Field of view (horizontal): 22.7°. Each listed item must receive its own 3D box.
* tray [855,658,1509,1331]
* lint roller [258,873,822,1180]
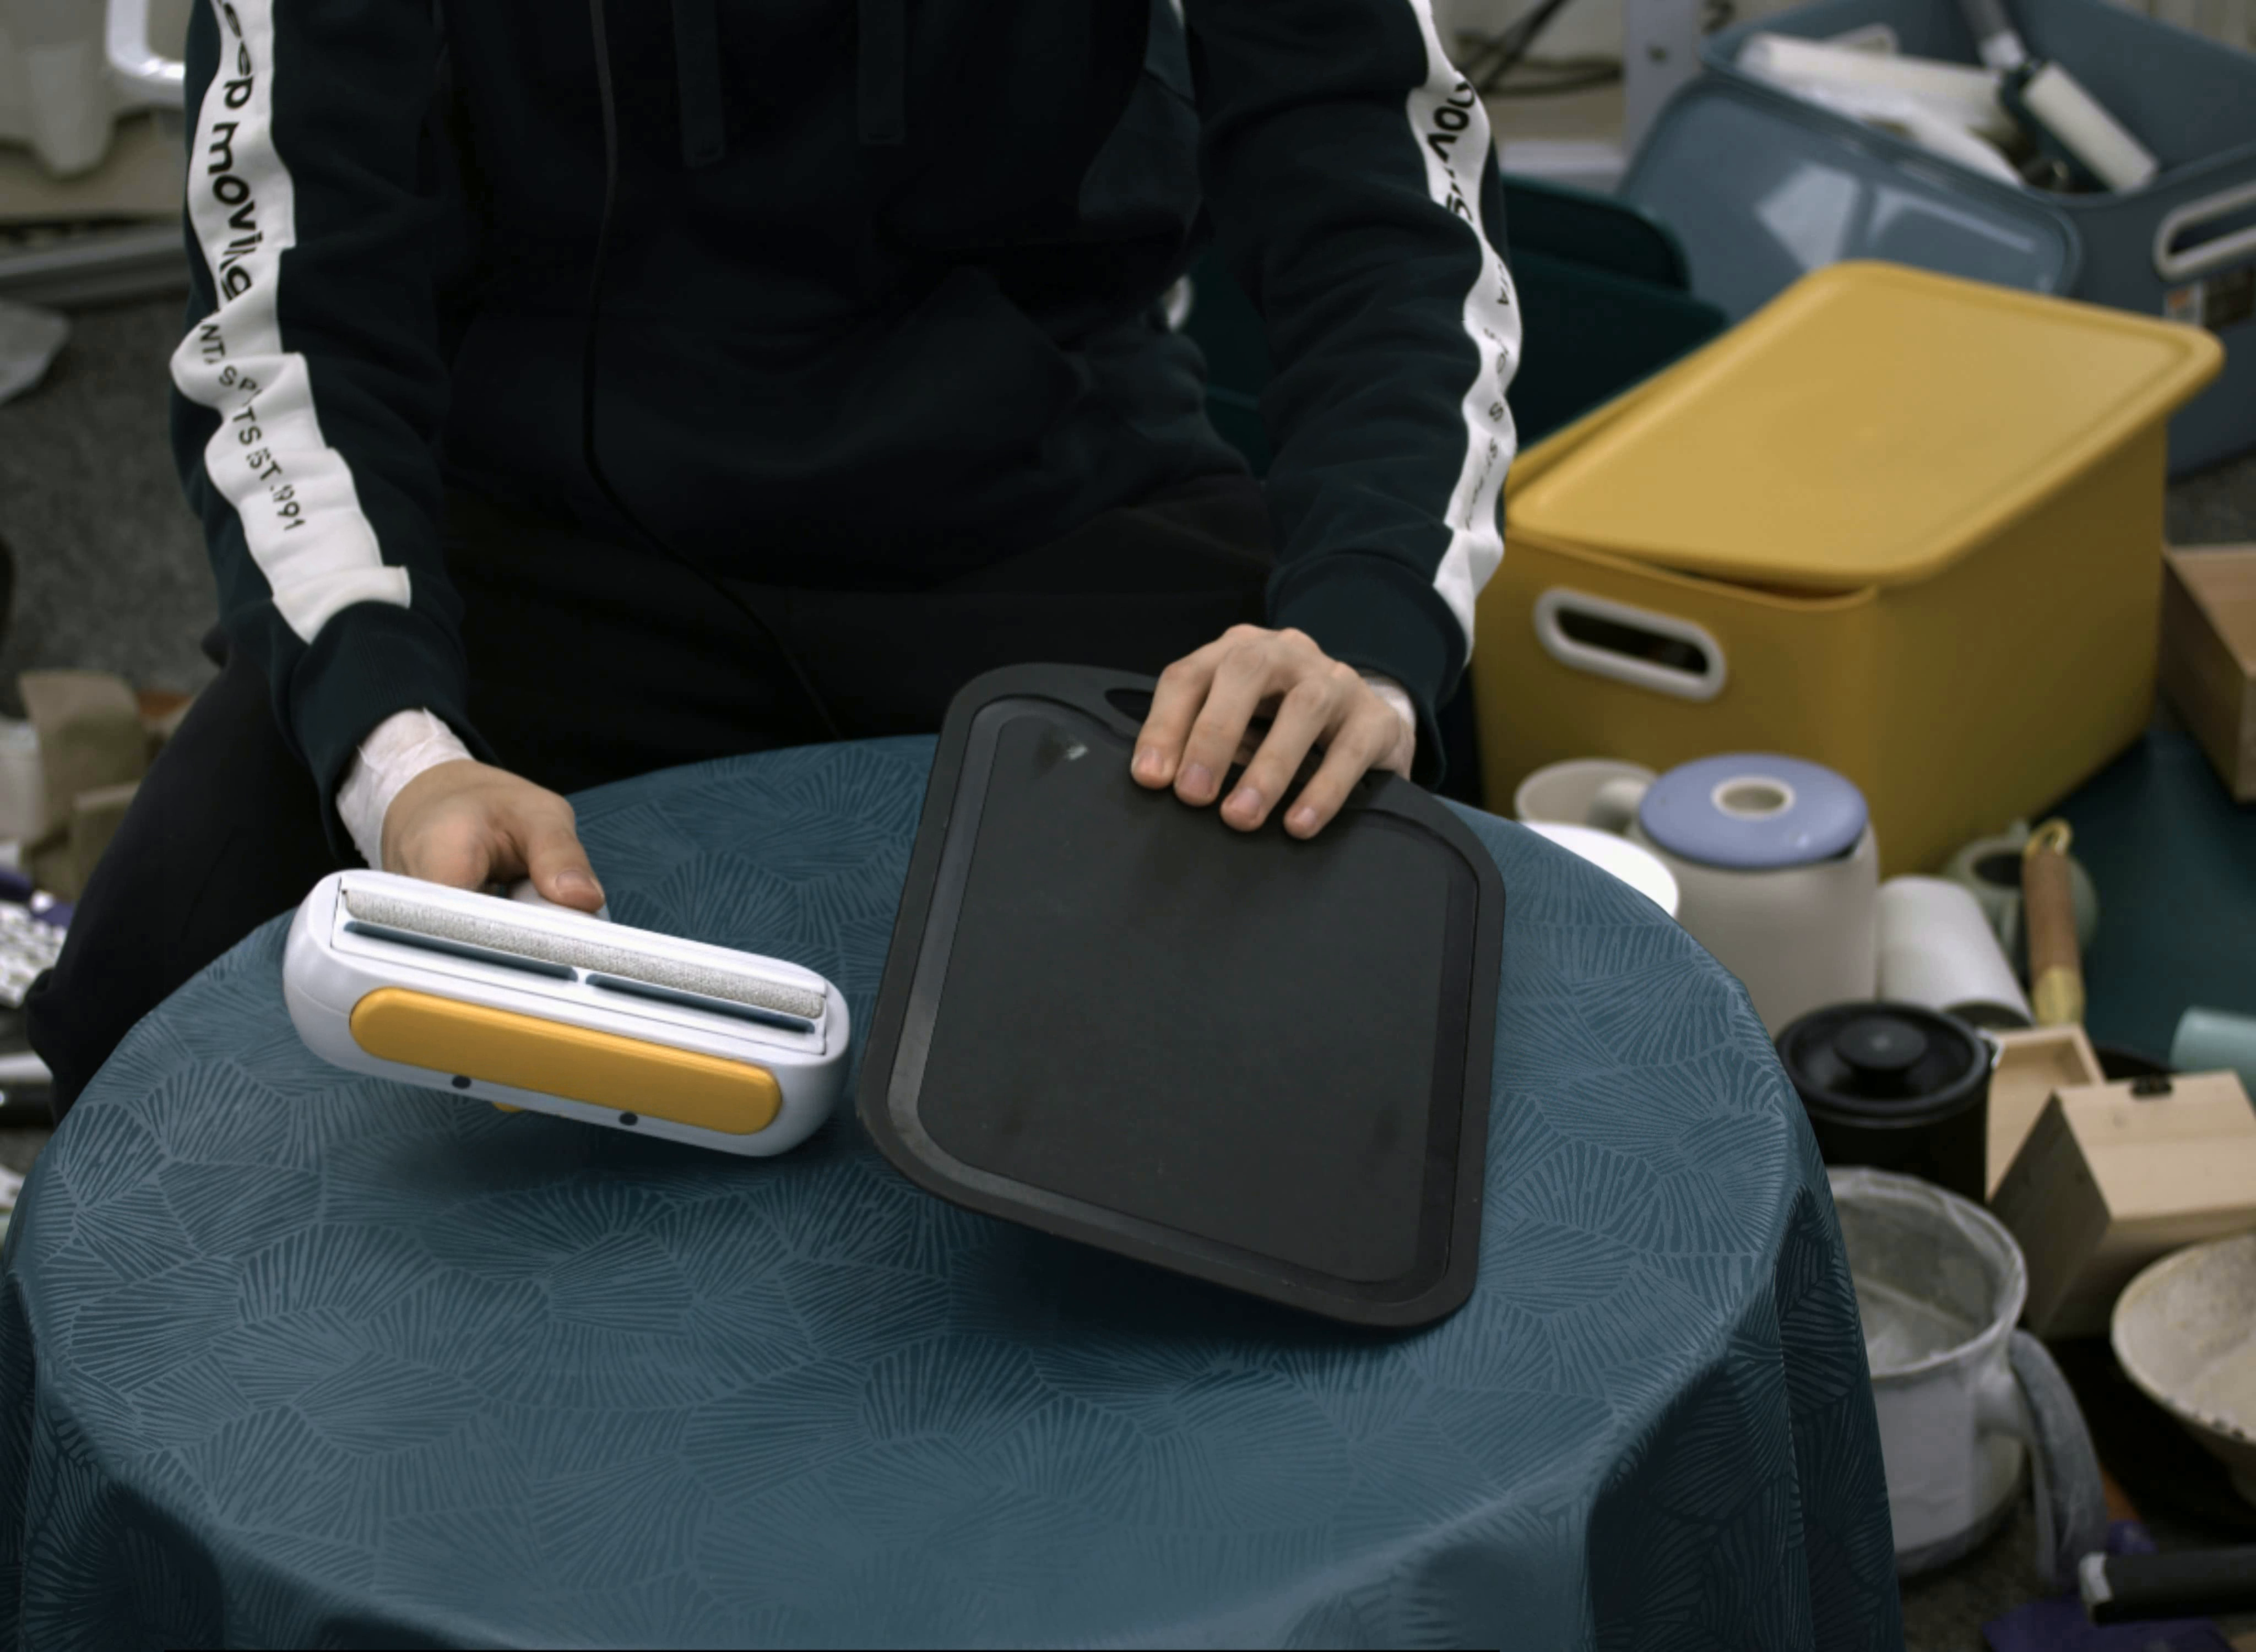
[{"bbox_3d":[0.024,0.044,1.892,0.210,0.009,0.331,18,34,-5],"label":"tray"},{"bbox_3d":[-0.201,0.063,1.939,0.192,0.074,0.193,13,10,-5],"label":"lint roller"}]
